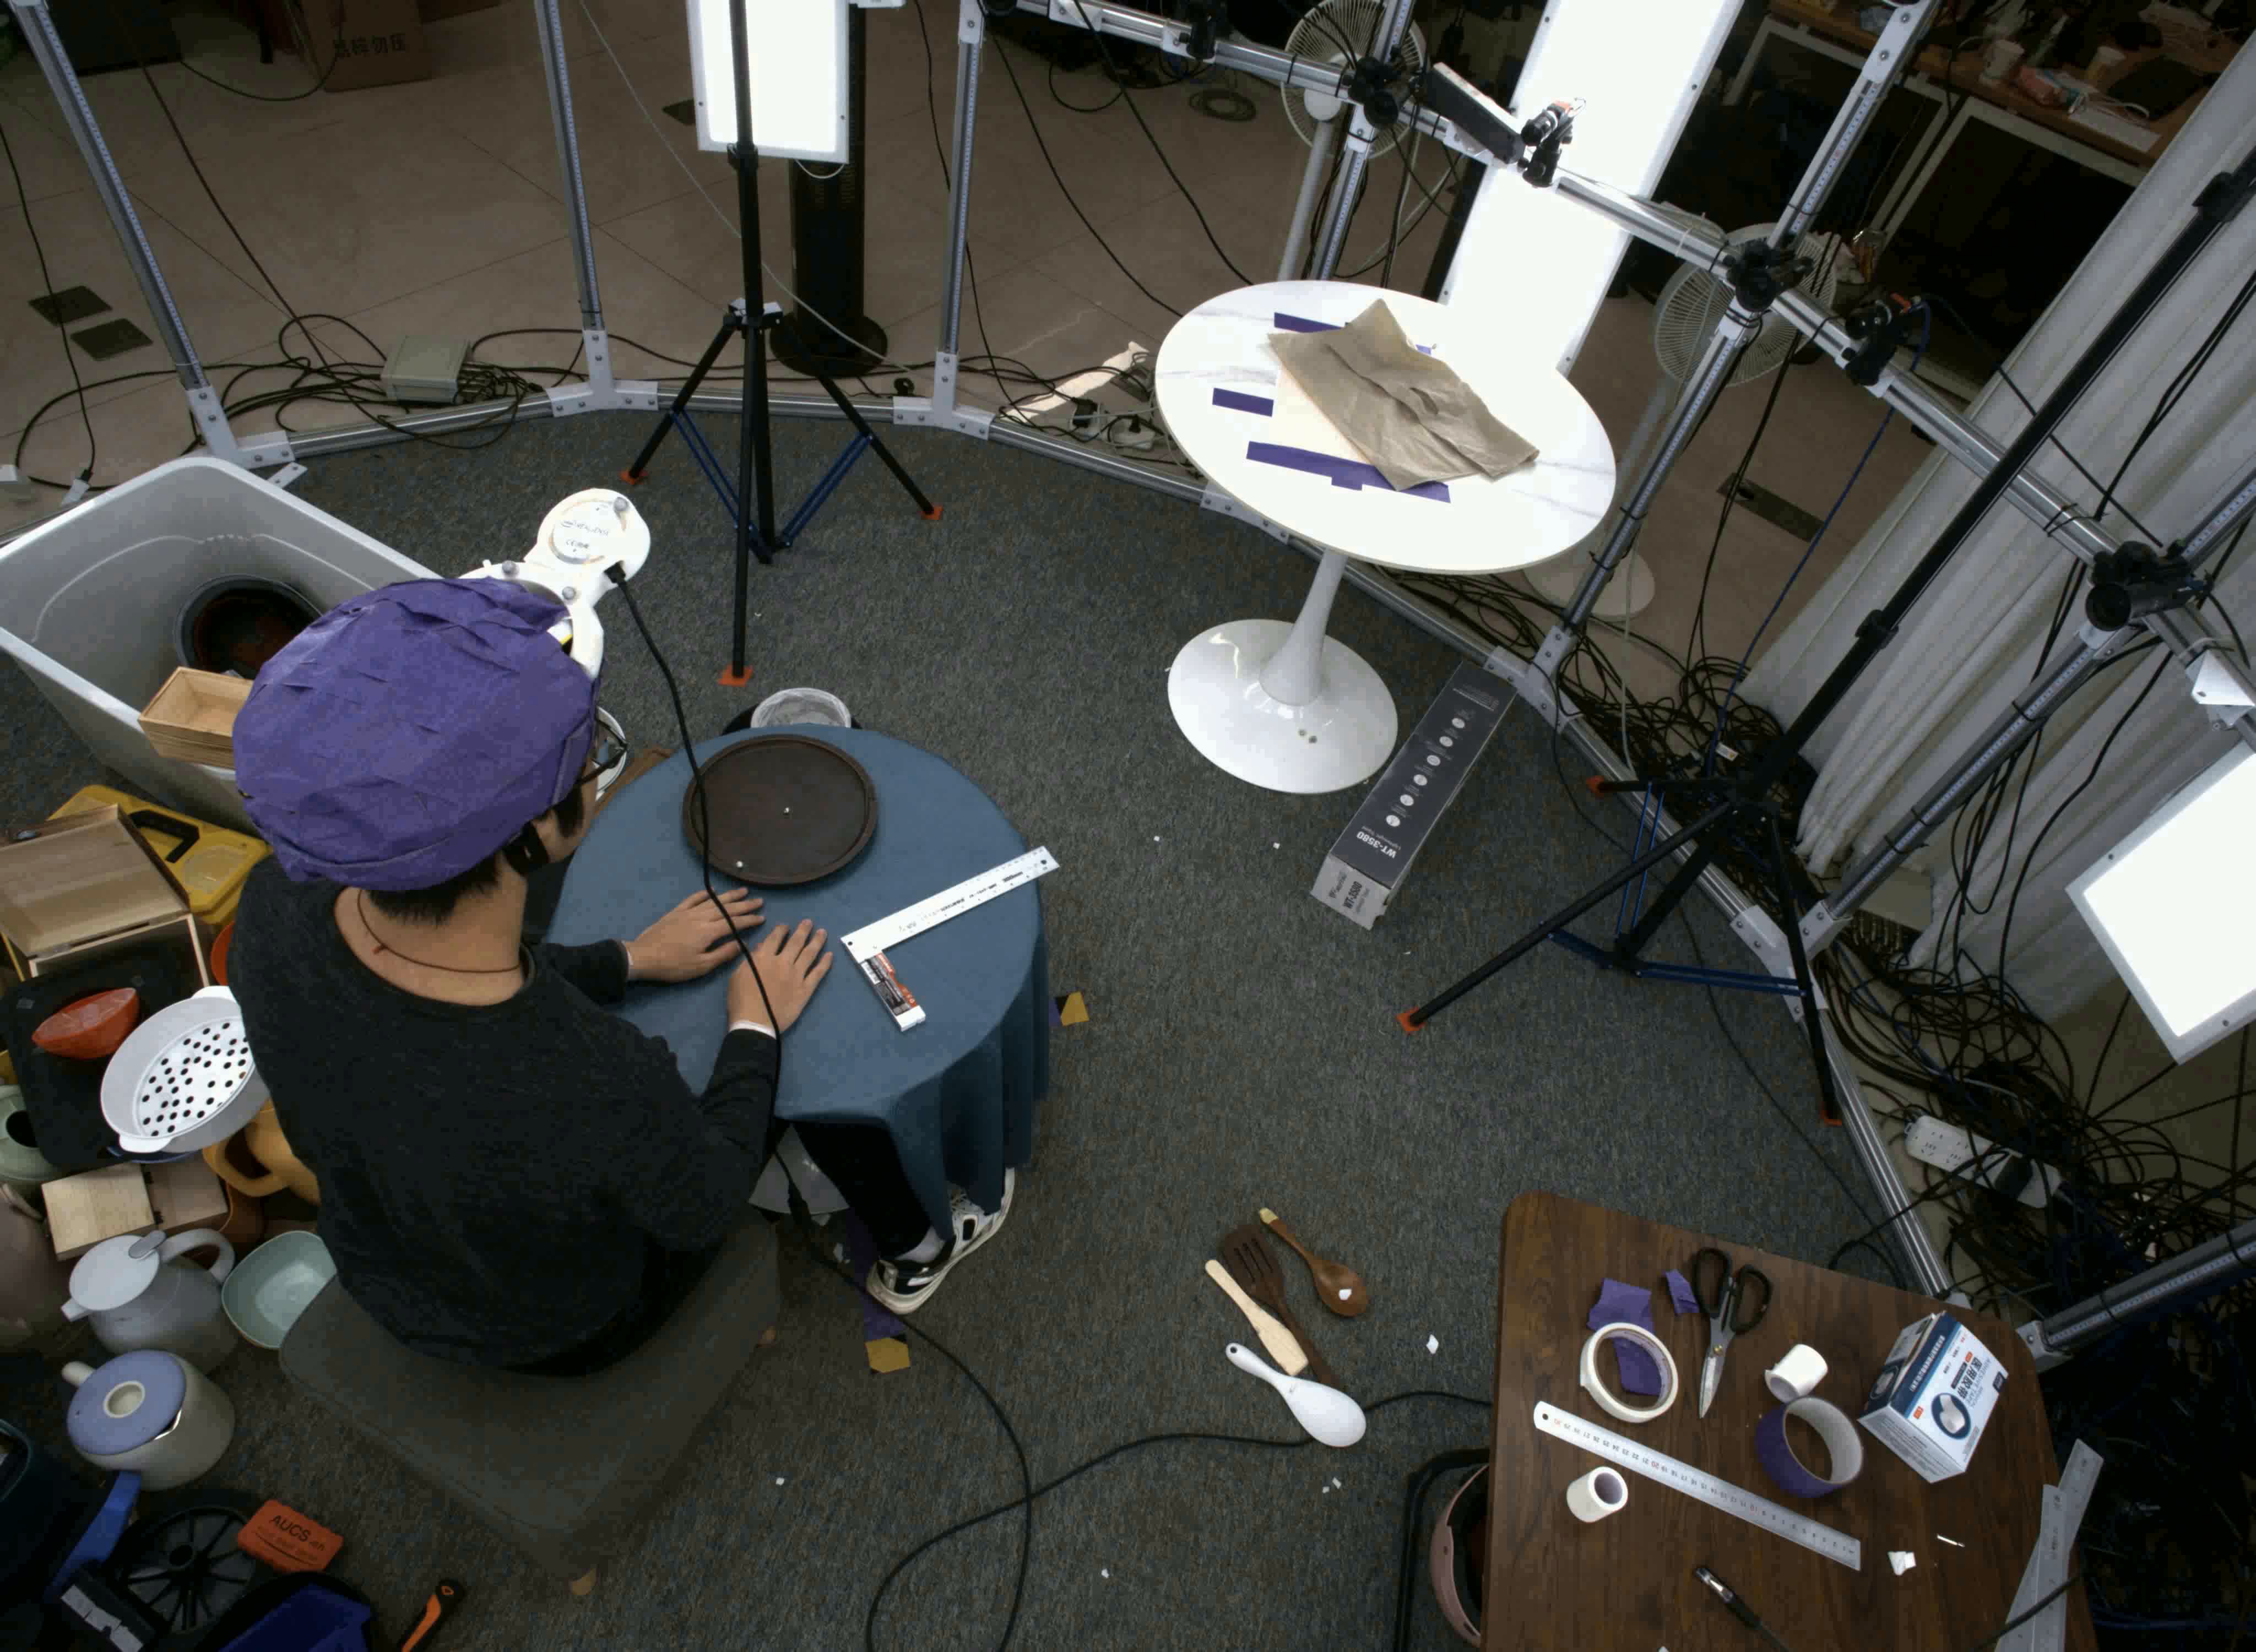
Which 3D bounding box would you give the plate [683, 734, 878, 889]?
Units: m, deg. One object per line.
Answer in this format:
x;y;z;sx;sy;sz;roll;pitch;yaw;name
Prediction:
-0.458;-0.022;1.711;0.254;0.029;0.250;9;52;-9;plate

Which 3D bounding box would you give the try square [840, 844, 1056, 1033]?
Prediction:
-0.198;0.135;1.673;0.314;0.016;0.149;-26;65;-31;try square
